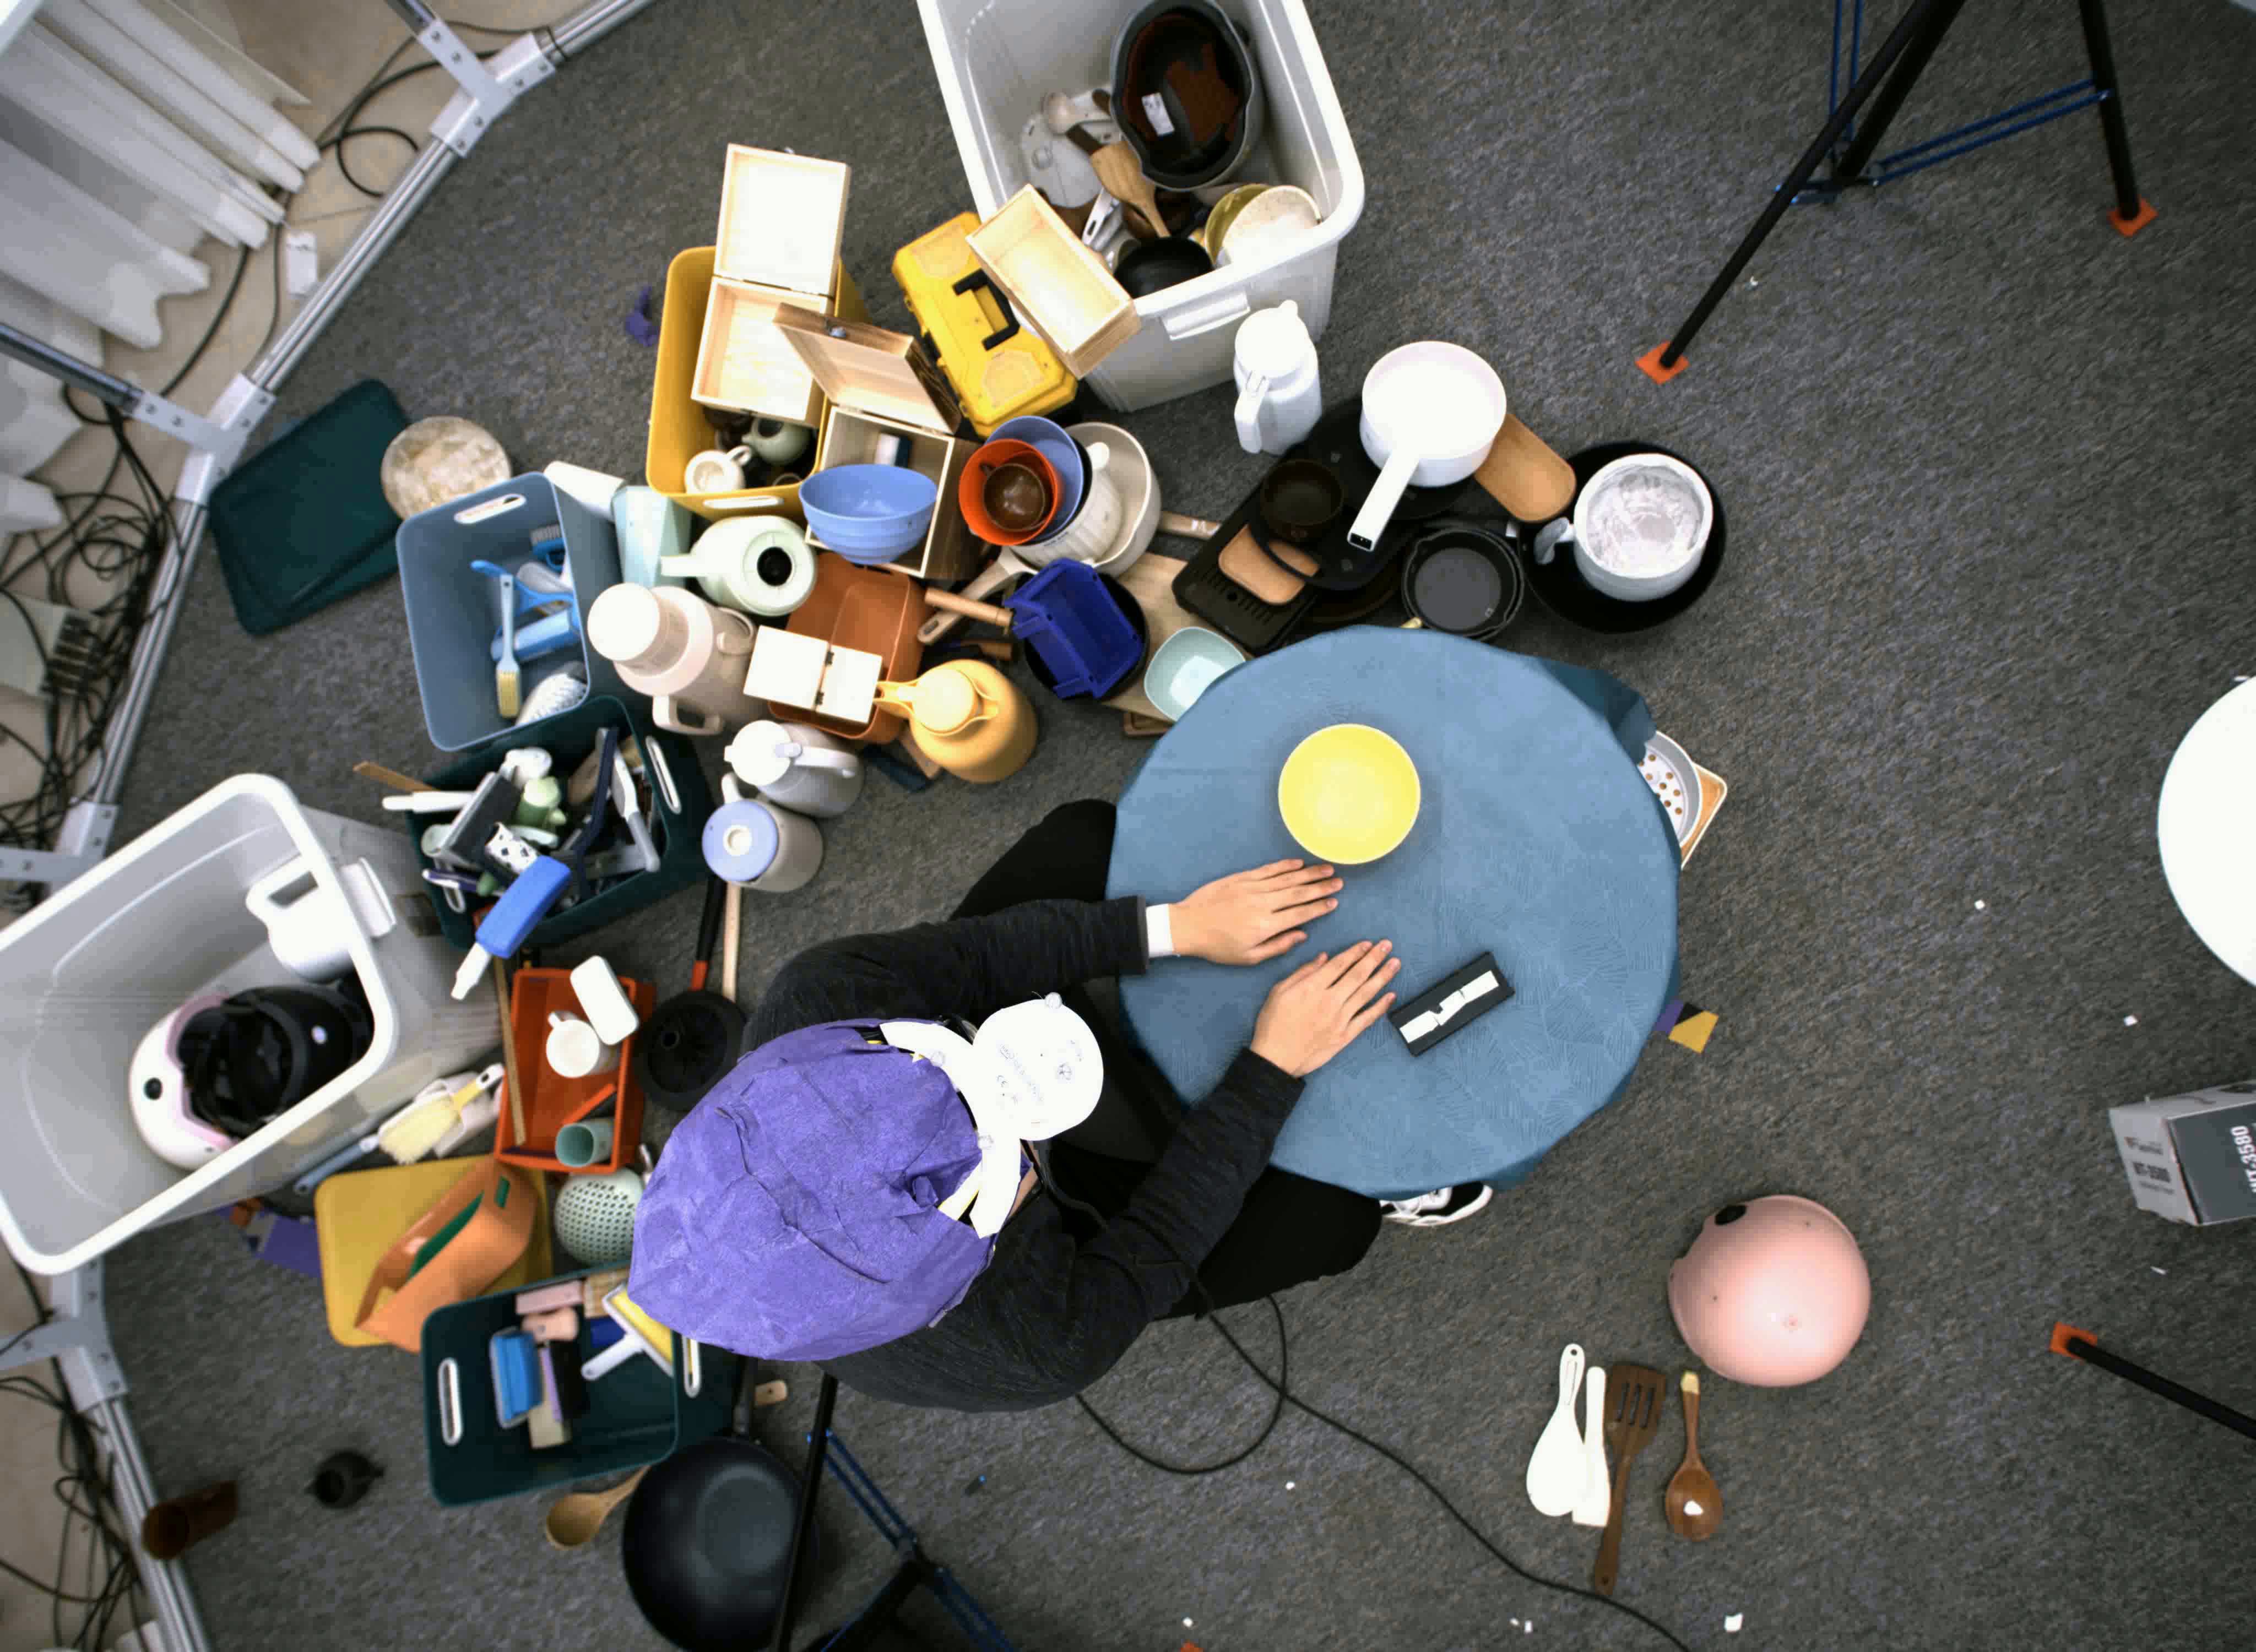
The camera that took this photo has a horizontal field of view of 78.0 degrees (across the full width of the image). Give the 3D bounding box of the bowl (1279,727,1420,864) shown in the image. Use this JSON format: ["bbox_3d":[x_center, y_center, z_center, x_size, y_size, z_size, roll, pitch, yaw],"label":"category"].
[{"bbox_3d":[0.233,-0.029,1.443,0.146,0.060,0.144,-1,85,12],"label":"bowl"}]

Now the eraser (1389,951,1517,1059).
[{"bbox_3d":[0.336,0.183,1.427,0.126,0.030,0.053,-35,78,7],"label":"eraser"}]
